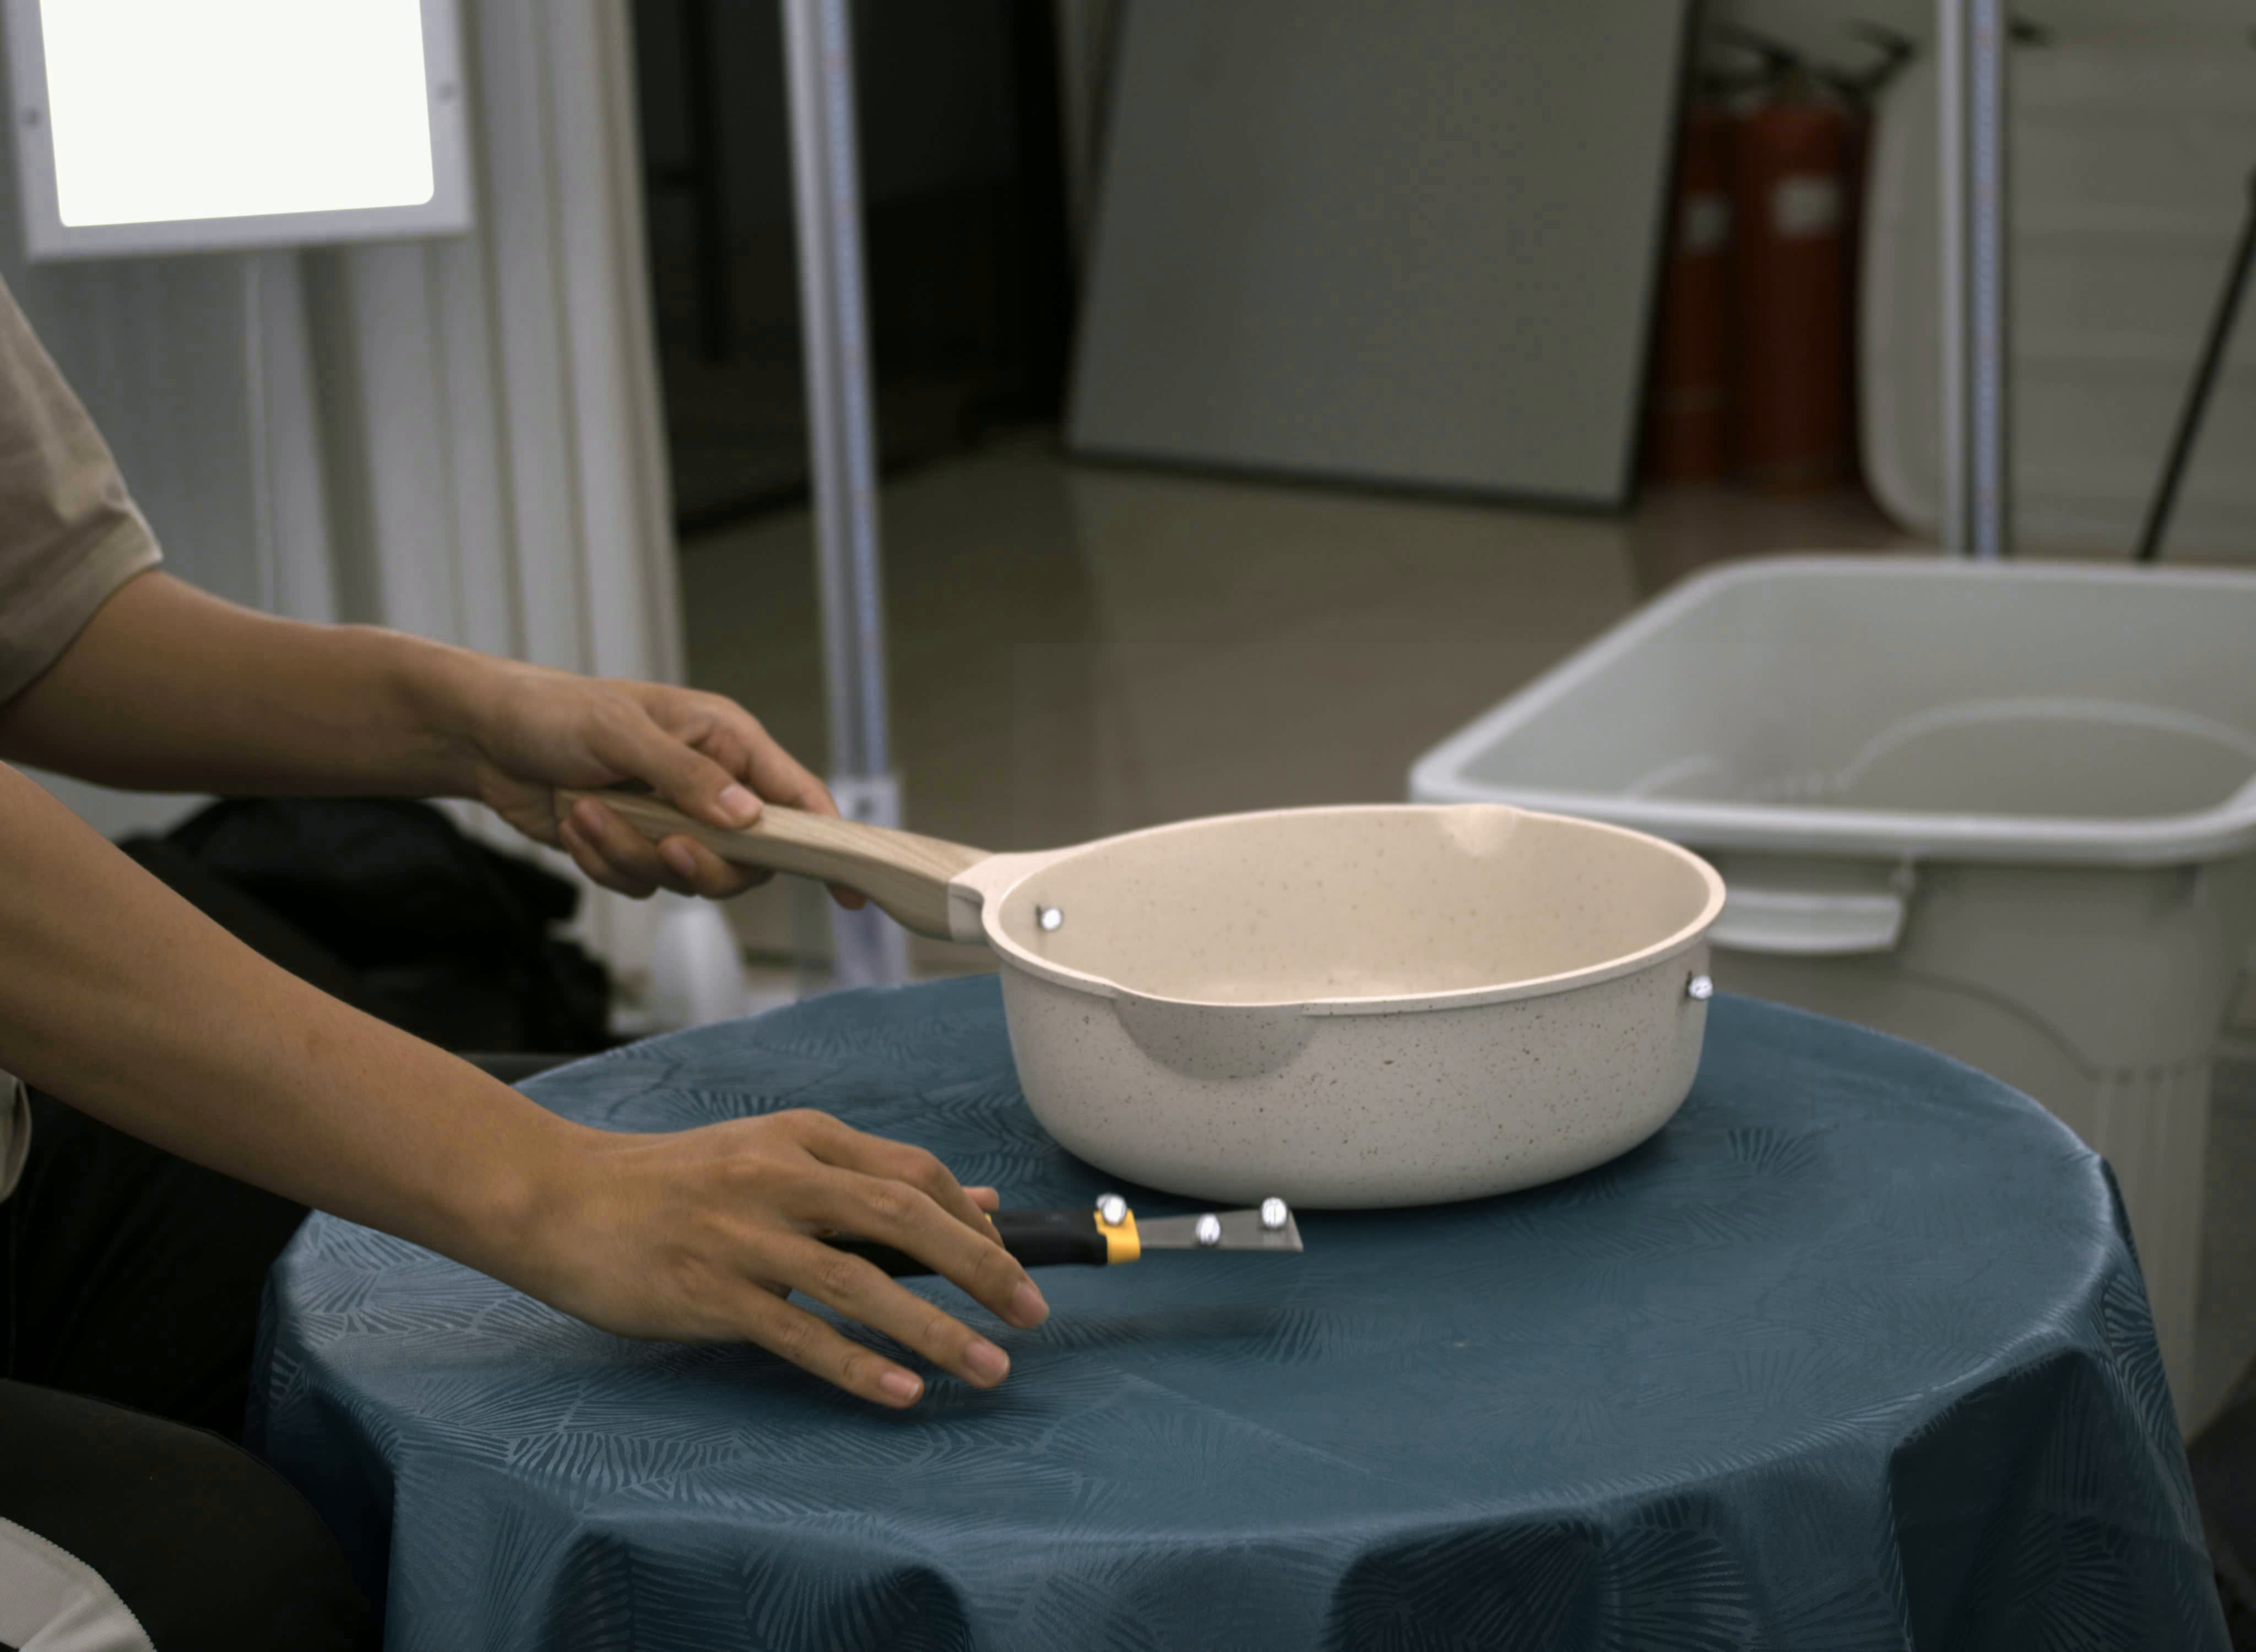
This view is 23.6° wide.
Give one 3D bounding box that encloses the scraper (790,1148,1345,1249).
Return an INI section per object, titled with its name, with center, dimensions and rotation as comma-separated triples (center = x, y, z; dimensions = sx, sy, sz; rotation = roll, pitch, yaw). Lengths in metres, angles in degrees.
[scraper]
center = -0.018, 0.113, 1.642
dimensions = 0.168, 0.015, 0.039
rotation = -3, 22, -5

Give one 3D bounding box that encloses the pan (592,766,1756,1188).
[pan]
center = 0.008, 0.042, 1.875
dimensions = 0.435, 0.103, 0.260
rotation = 3, 17, 26
